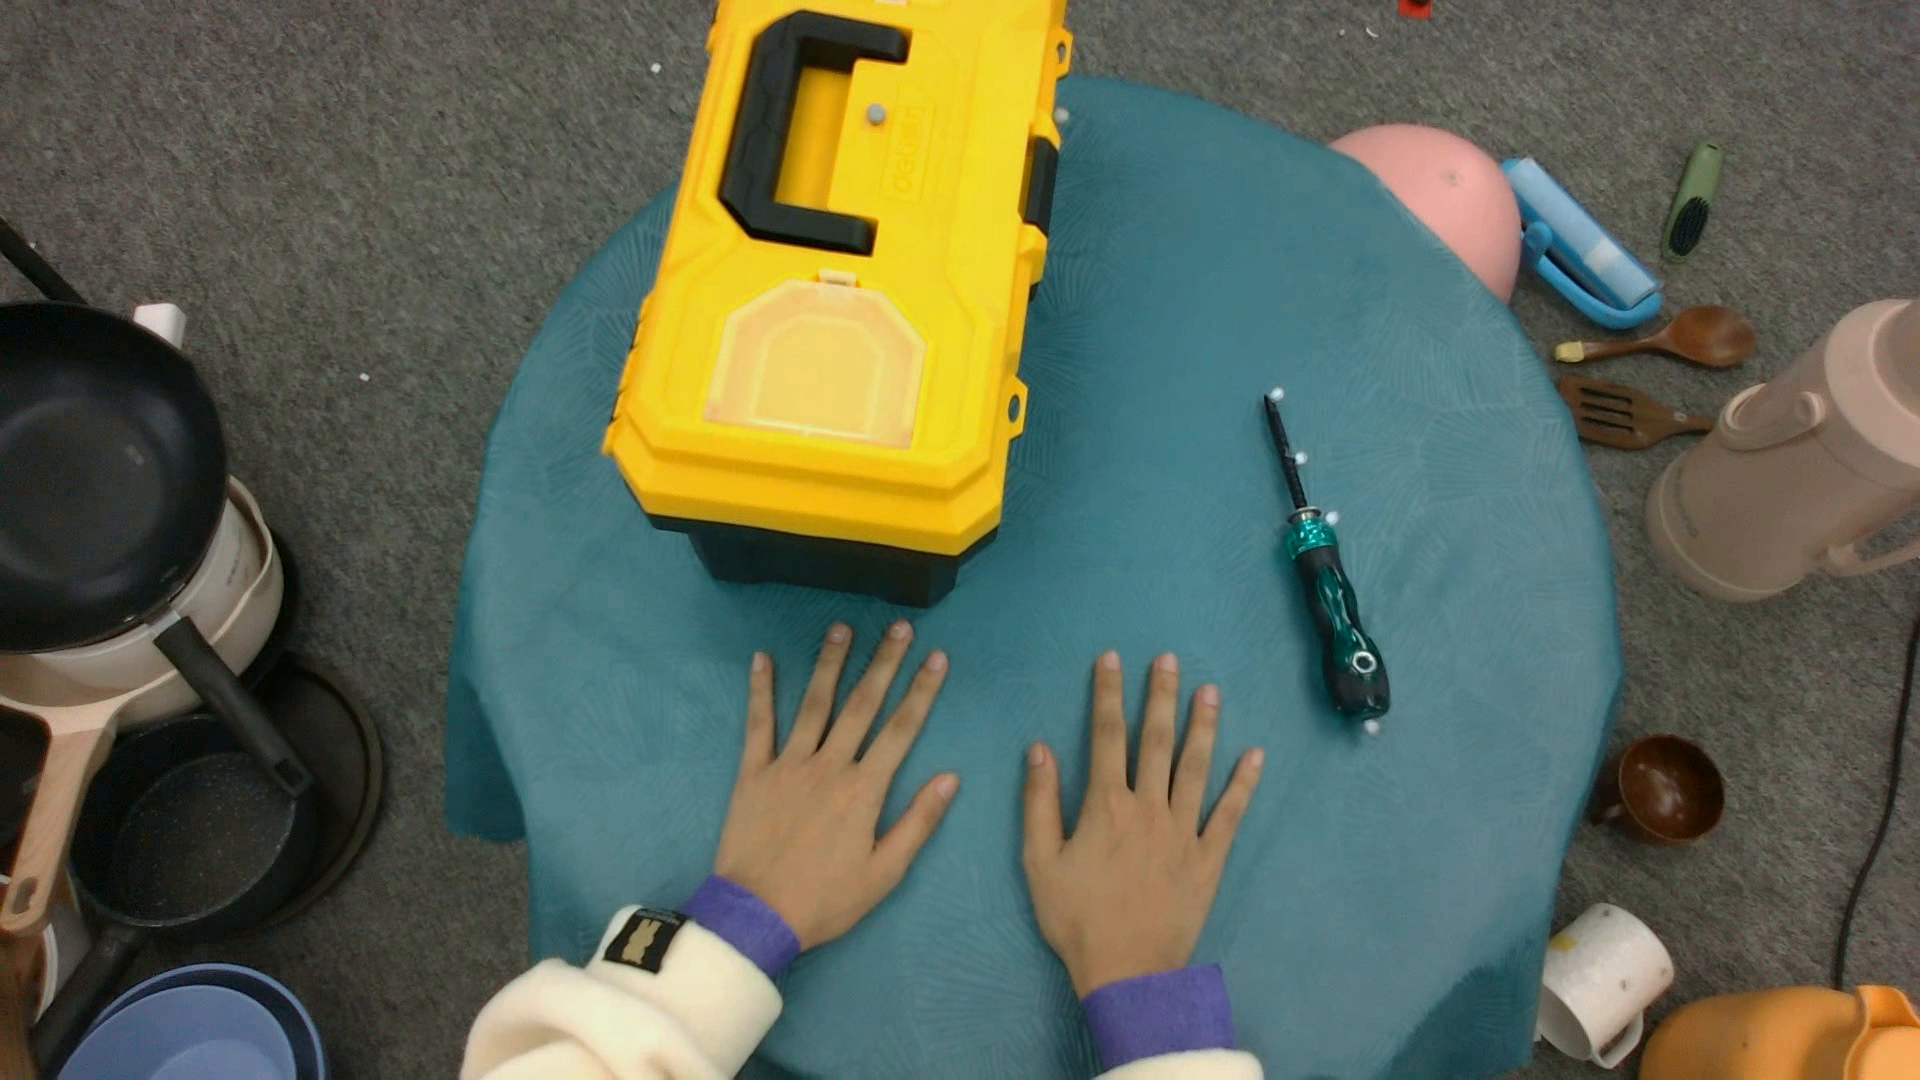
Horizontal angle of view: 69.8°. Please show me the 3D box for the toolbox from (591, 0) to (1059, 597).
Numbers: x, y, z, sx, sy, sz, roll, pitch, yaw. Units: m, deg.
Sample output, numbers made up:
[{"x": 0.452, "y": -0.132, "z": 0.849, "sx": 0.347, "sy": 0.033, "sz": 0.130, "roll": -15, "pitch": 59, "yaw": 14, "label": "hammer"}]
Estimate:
[{"x": -0.055, "y": -0.153, "z": 0.685, "sx": 0.181, "sy": 0.172, "sz": 0.353, "roll": 8, "pitch": 67, "yaw": -1, "label": "toolbox"}]

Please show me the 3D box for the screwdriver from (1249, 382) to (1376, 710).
[{"x": 0.177, "y": -0.003, "z": 0.720, "sx": 0.034, "sy": 0.033, "sz": 0.190, "roll": -8, "pitch": 63, "yaw": -7, "label": "screwdriver"}]
